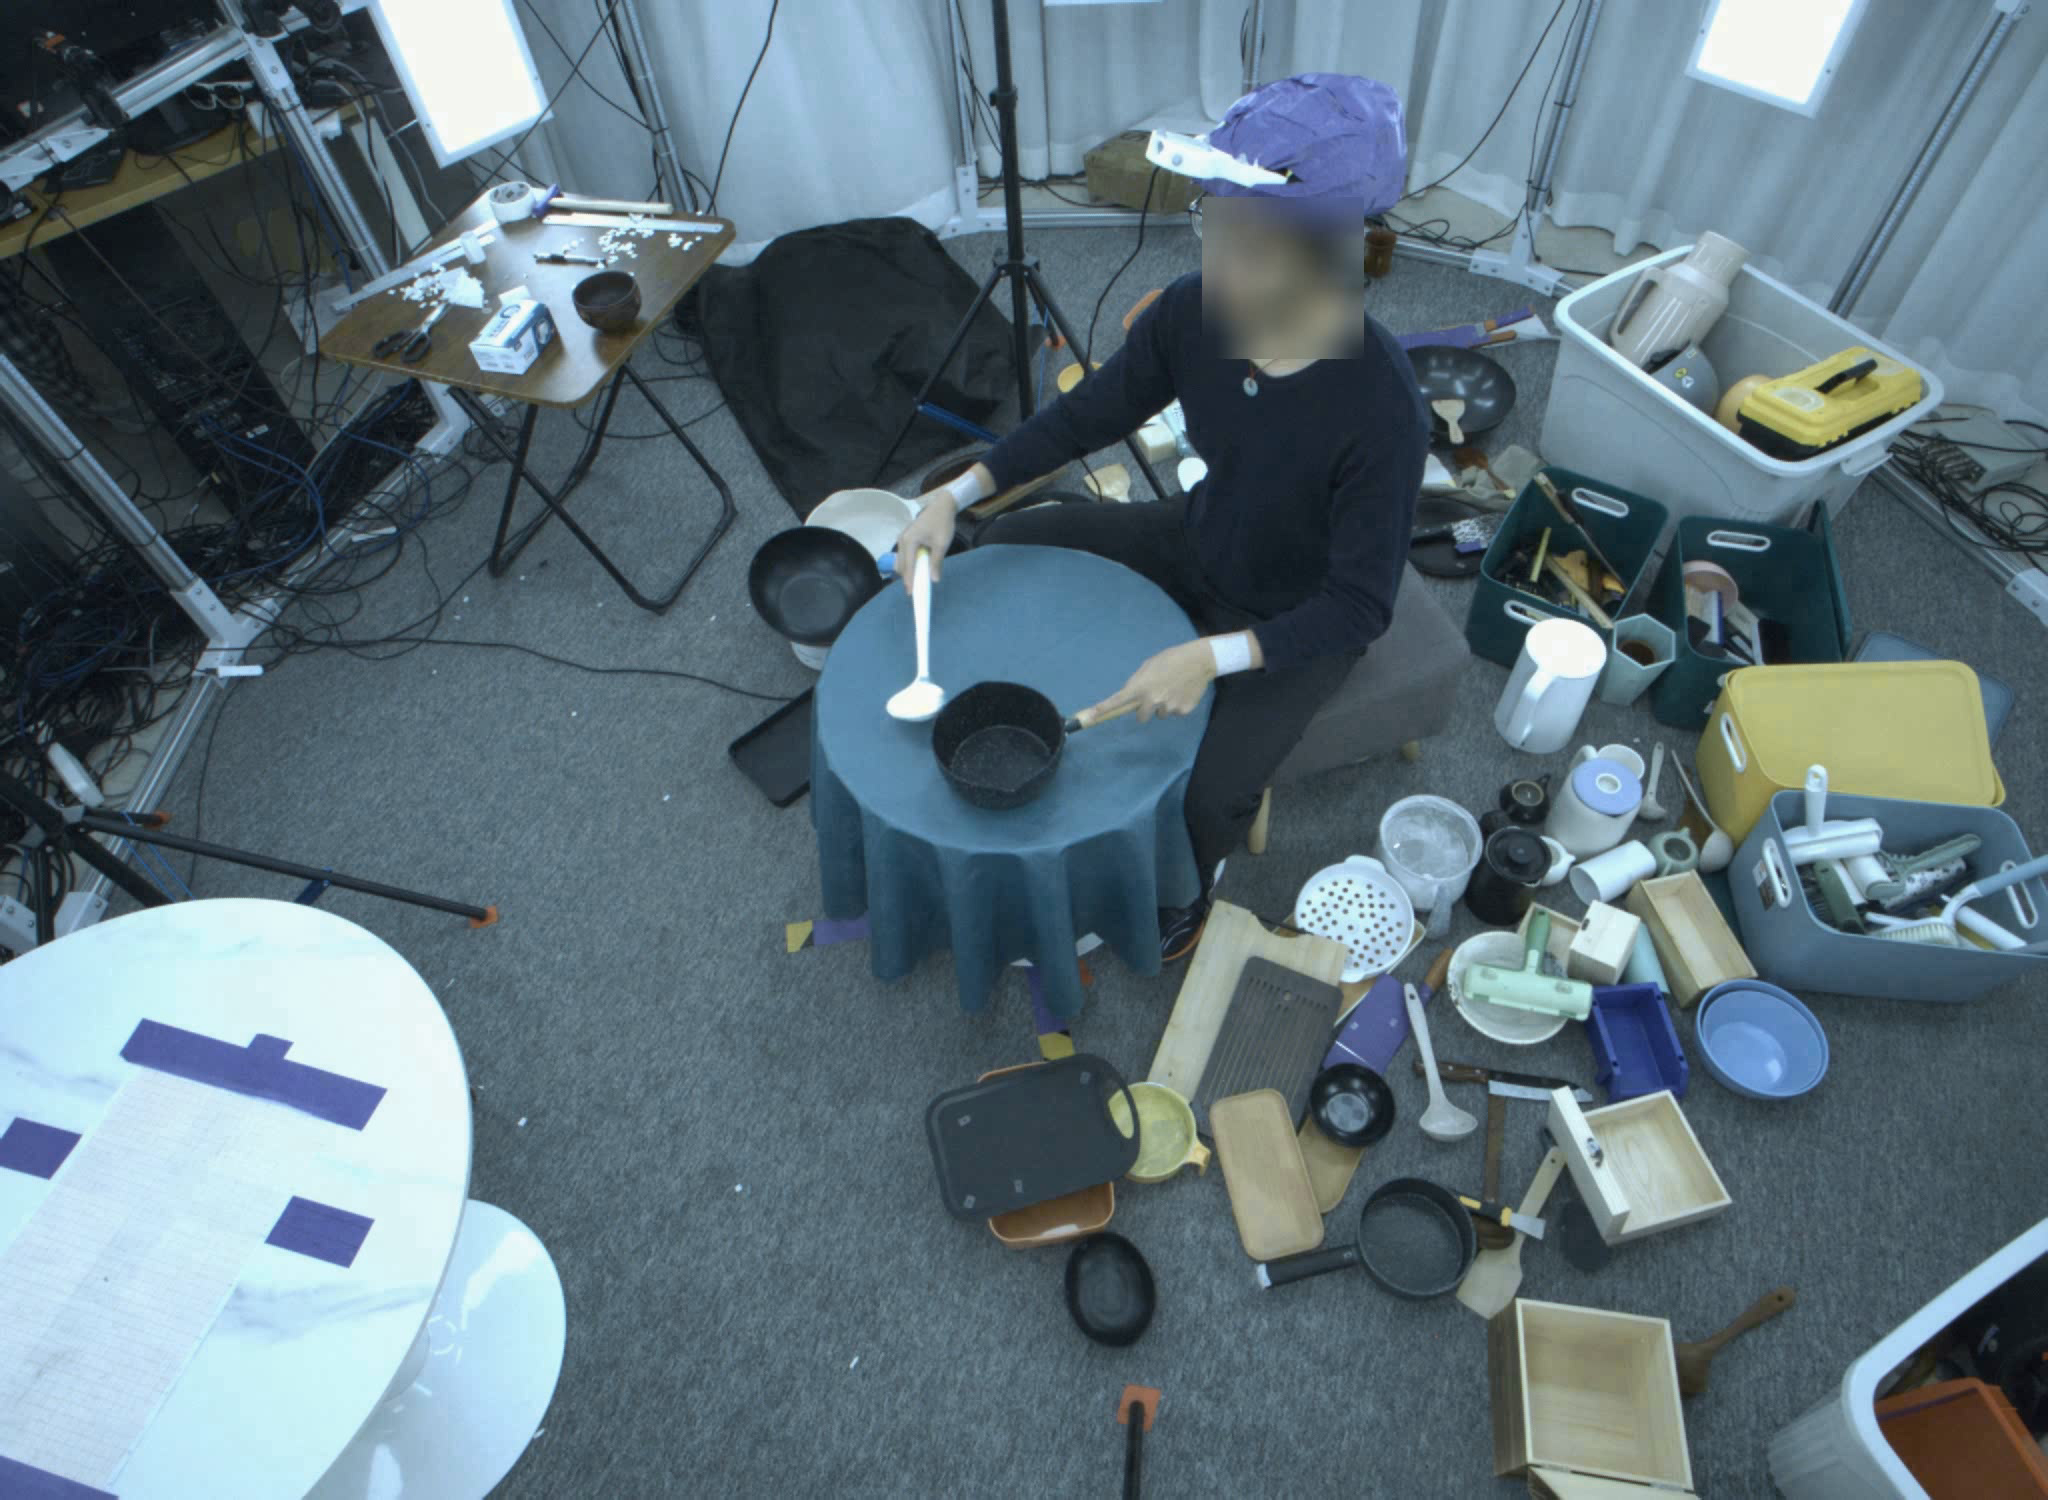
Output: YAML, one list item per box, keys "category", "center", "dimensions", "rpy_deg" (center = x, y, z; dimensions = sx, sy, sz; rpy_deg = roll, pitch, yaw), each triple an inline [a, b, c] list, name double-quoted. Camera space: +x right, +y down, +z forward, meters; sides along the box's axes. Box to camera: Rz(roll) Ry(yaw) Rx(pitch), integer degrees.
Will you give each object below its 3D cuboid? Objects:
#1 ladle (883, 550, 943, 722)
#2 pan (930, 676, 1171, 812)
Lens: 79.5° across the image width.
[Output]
- category: "ladle"
  center: [-0.157, -0.174, 1.830]
  dimensions: [0.089, 0.071, 0.291]
  rpy_deg: [-3, 70, 14]
- category: "pan"
  center: [0.041, -0.025, 1.736]
  dimensions: [0.344, 0.109, 0.204]
  rpy_deg: [-15, 54, -6]
